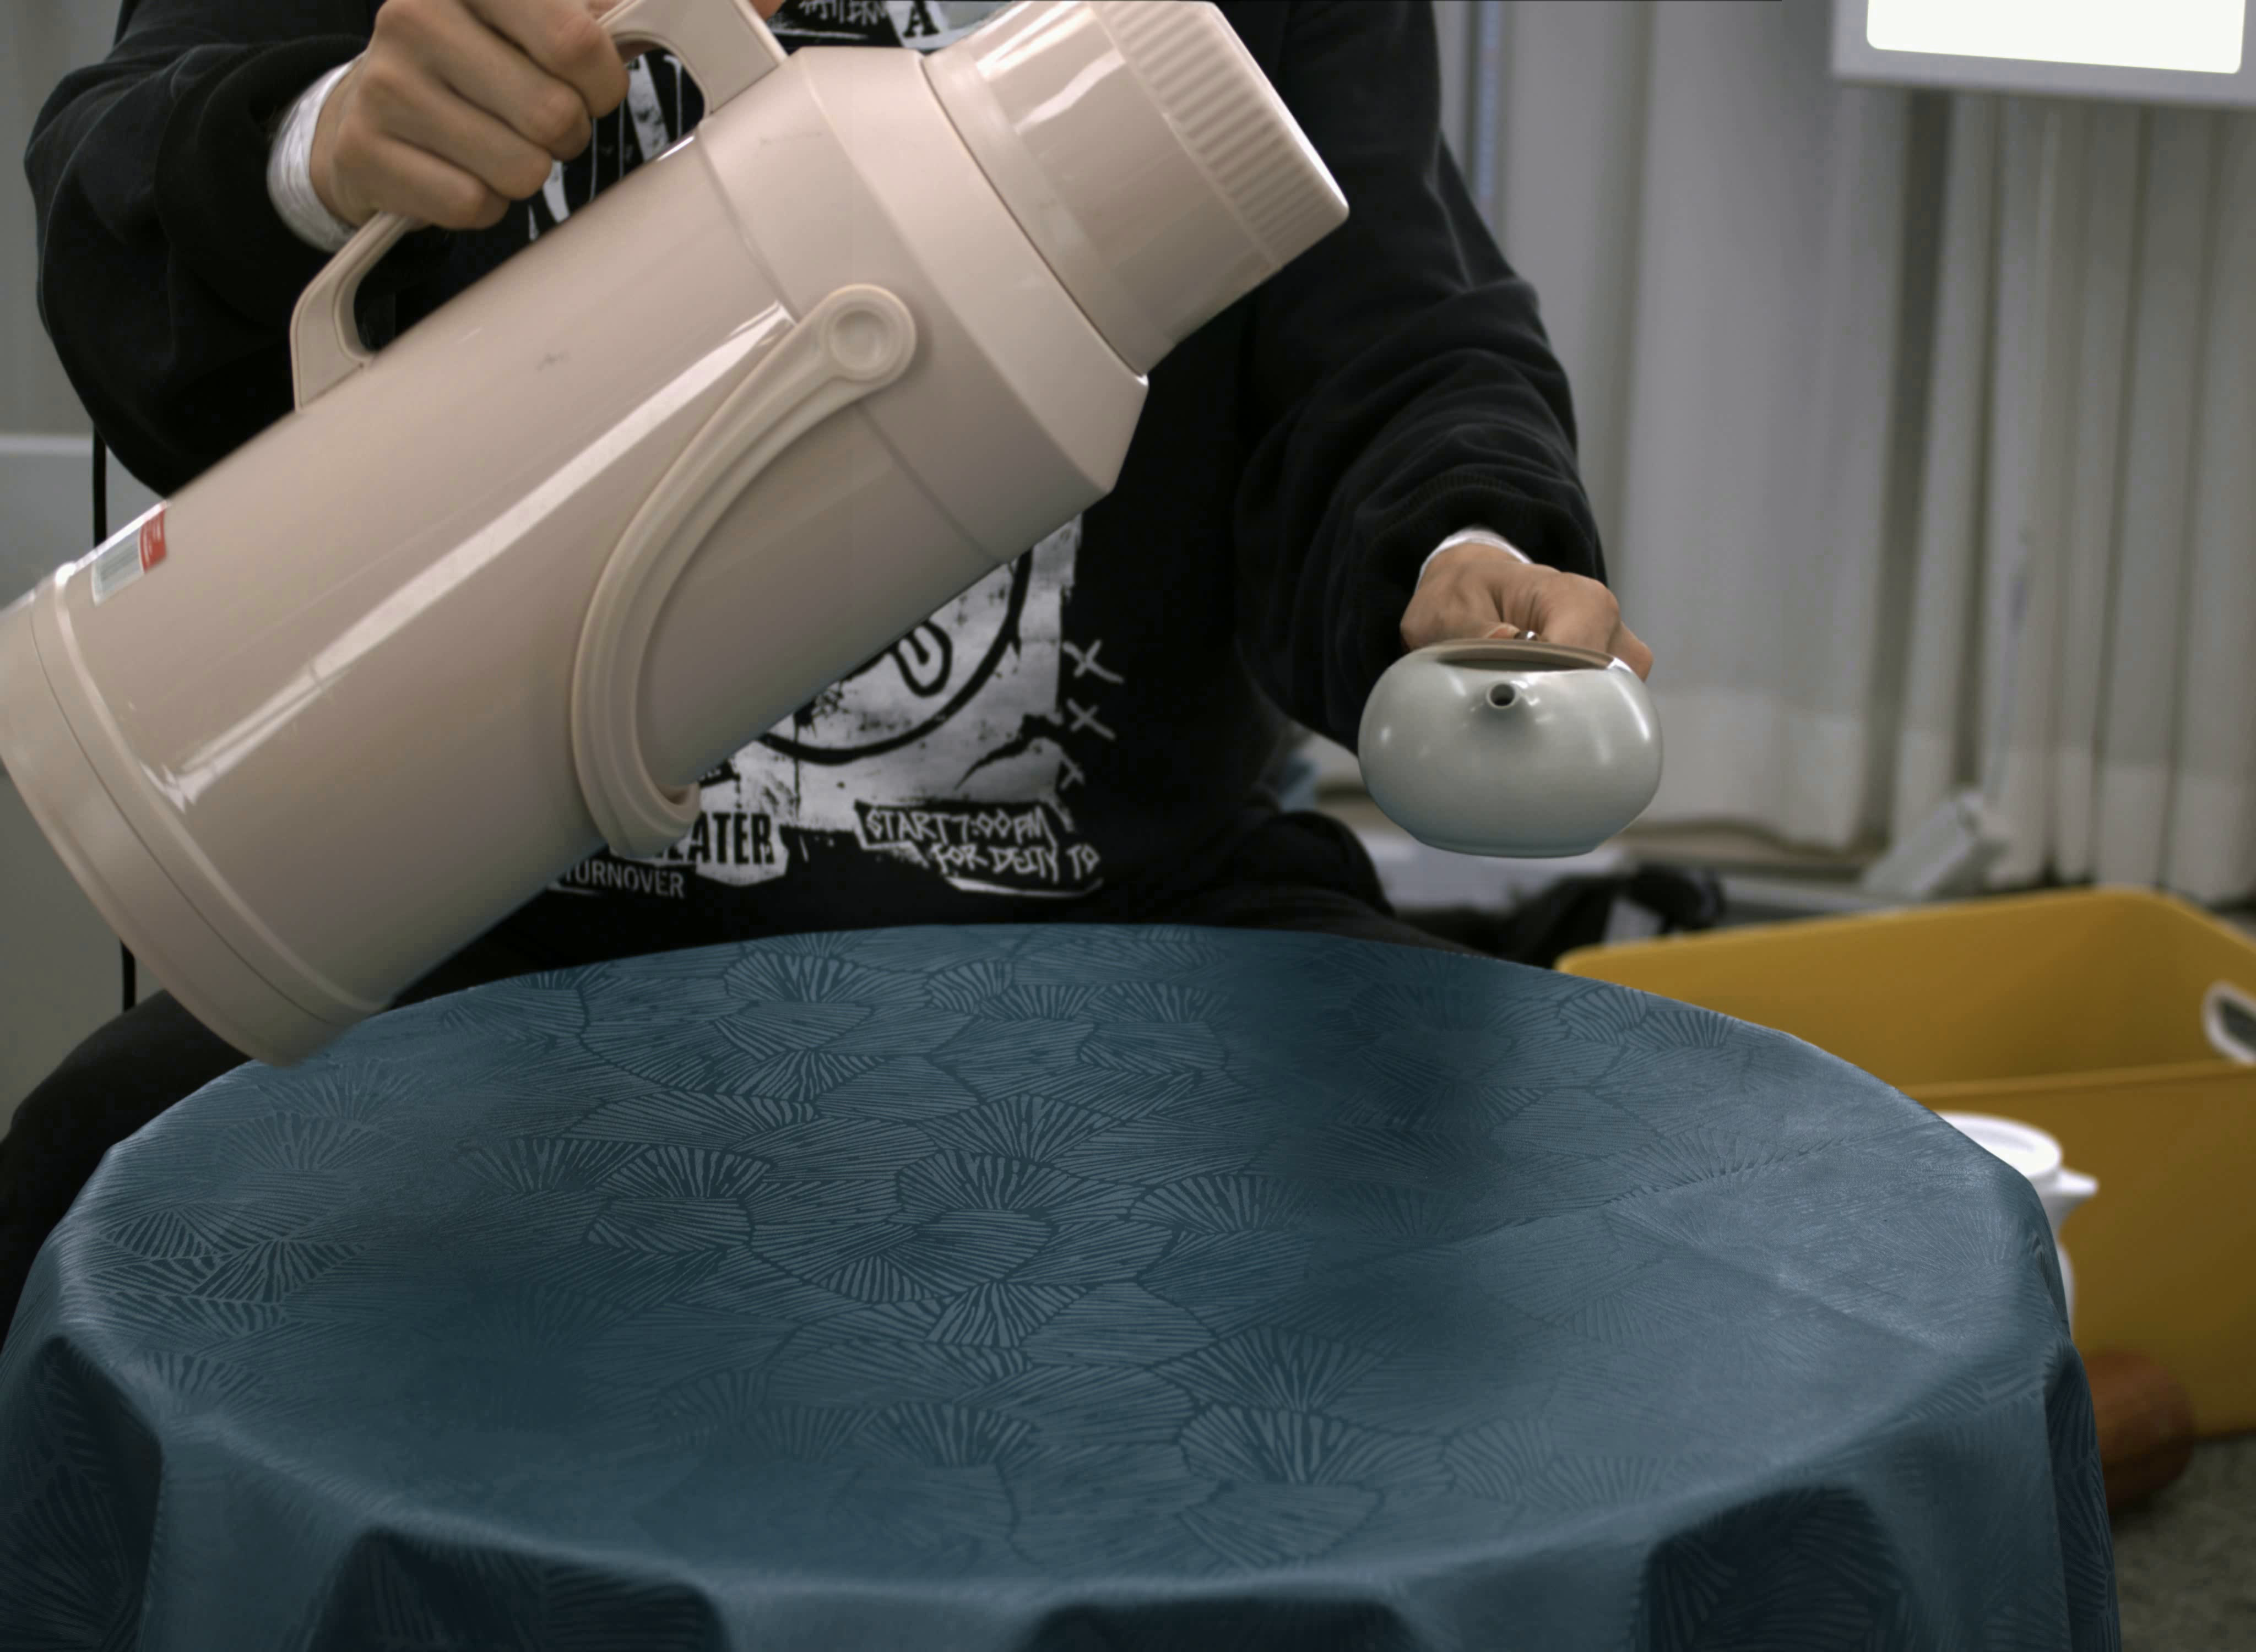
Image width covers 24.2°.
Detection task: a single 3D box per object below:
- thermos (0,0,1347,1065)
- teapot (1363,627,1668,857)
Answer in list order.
[{"bbox_3d":[-0.138,-0.118,1.518,0.405,0.208,0.175,-35,7,8],"label":"thermos"},{"bbox_3d":[0.117,-0.026,1.586,0.091,0.060,0.128,0,11,6],"label":"teapot"}]
